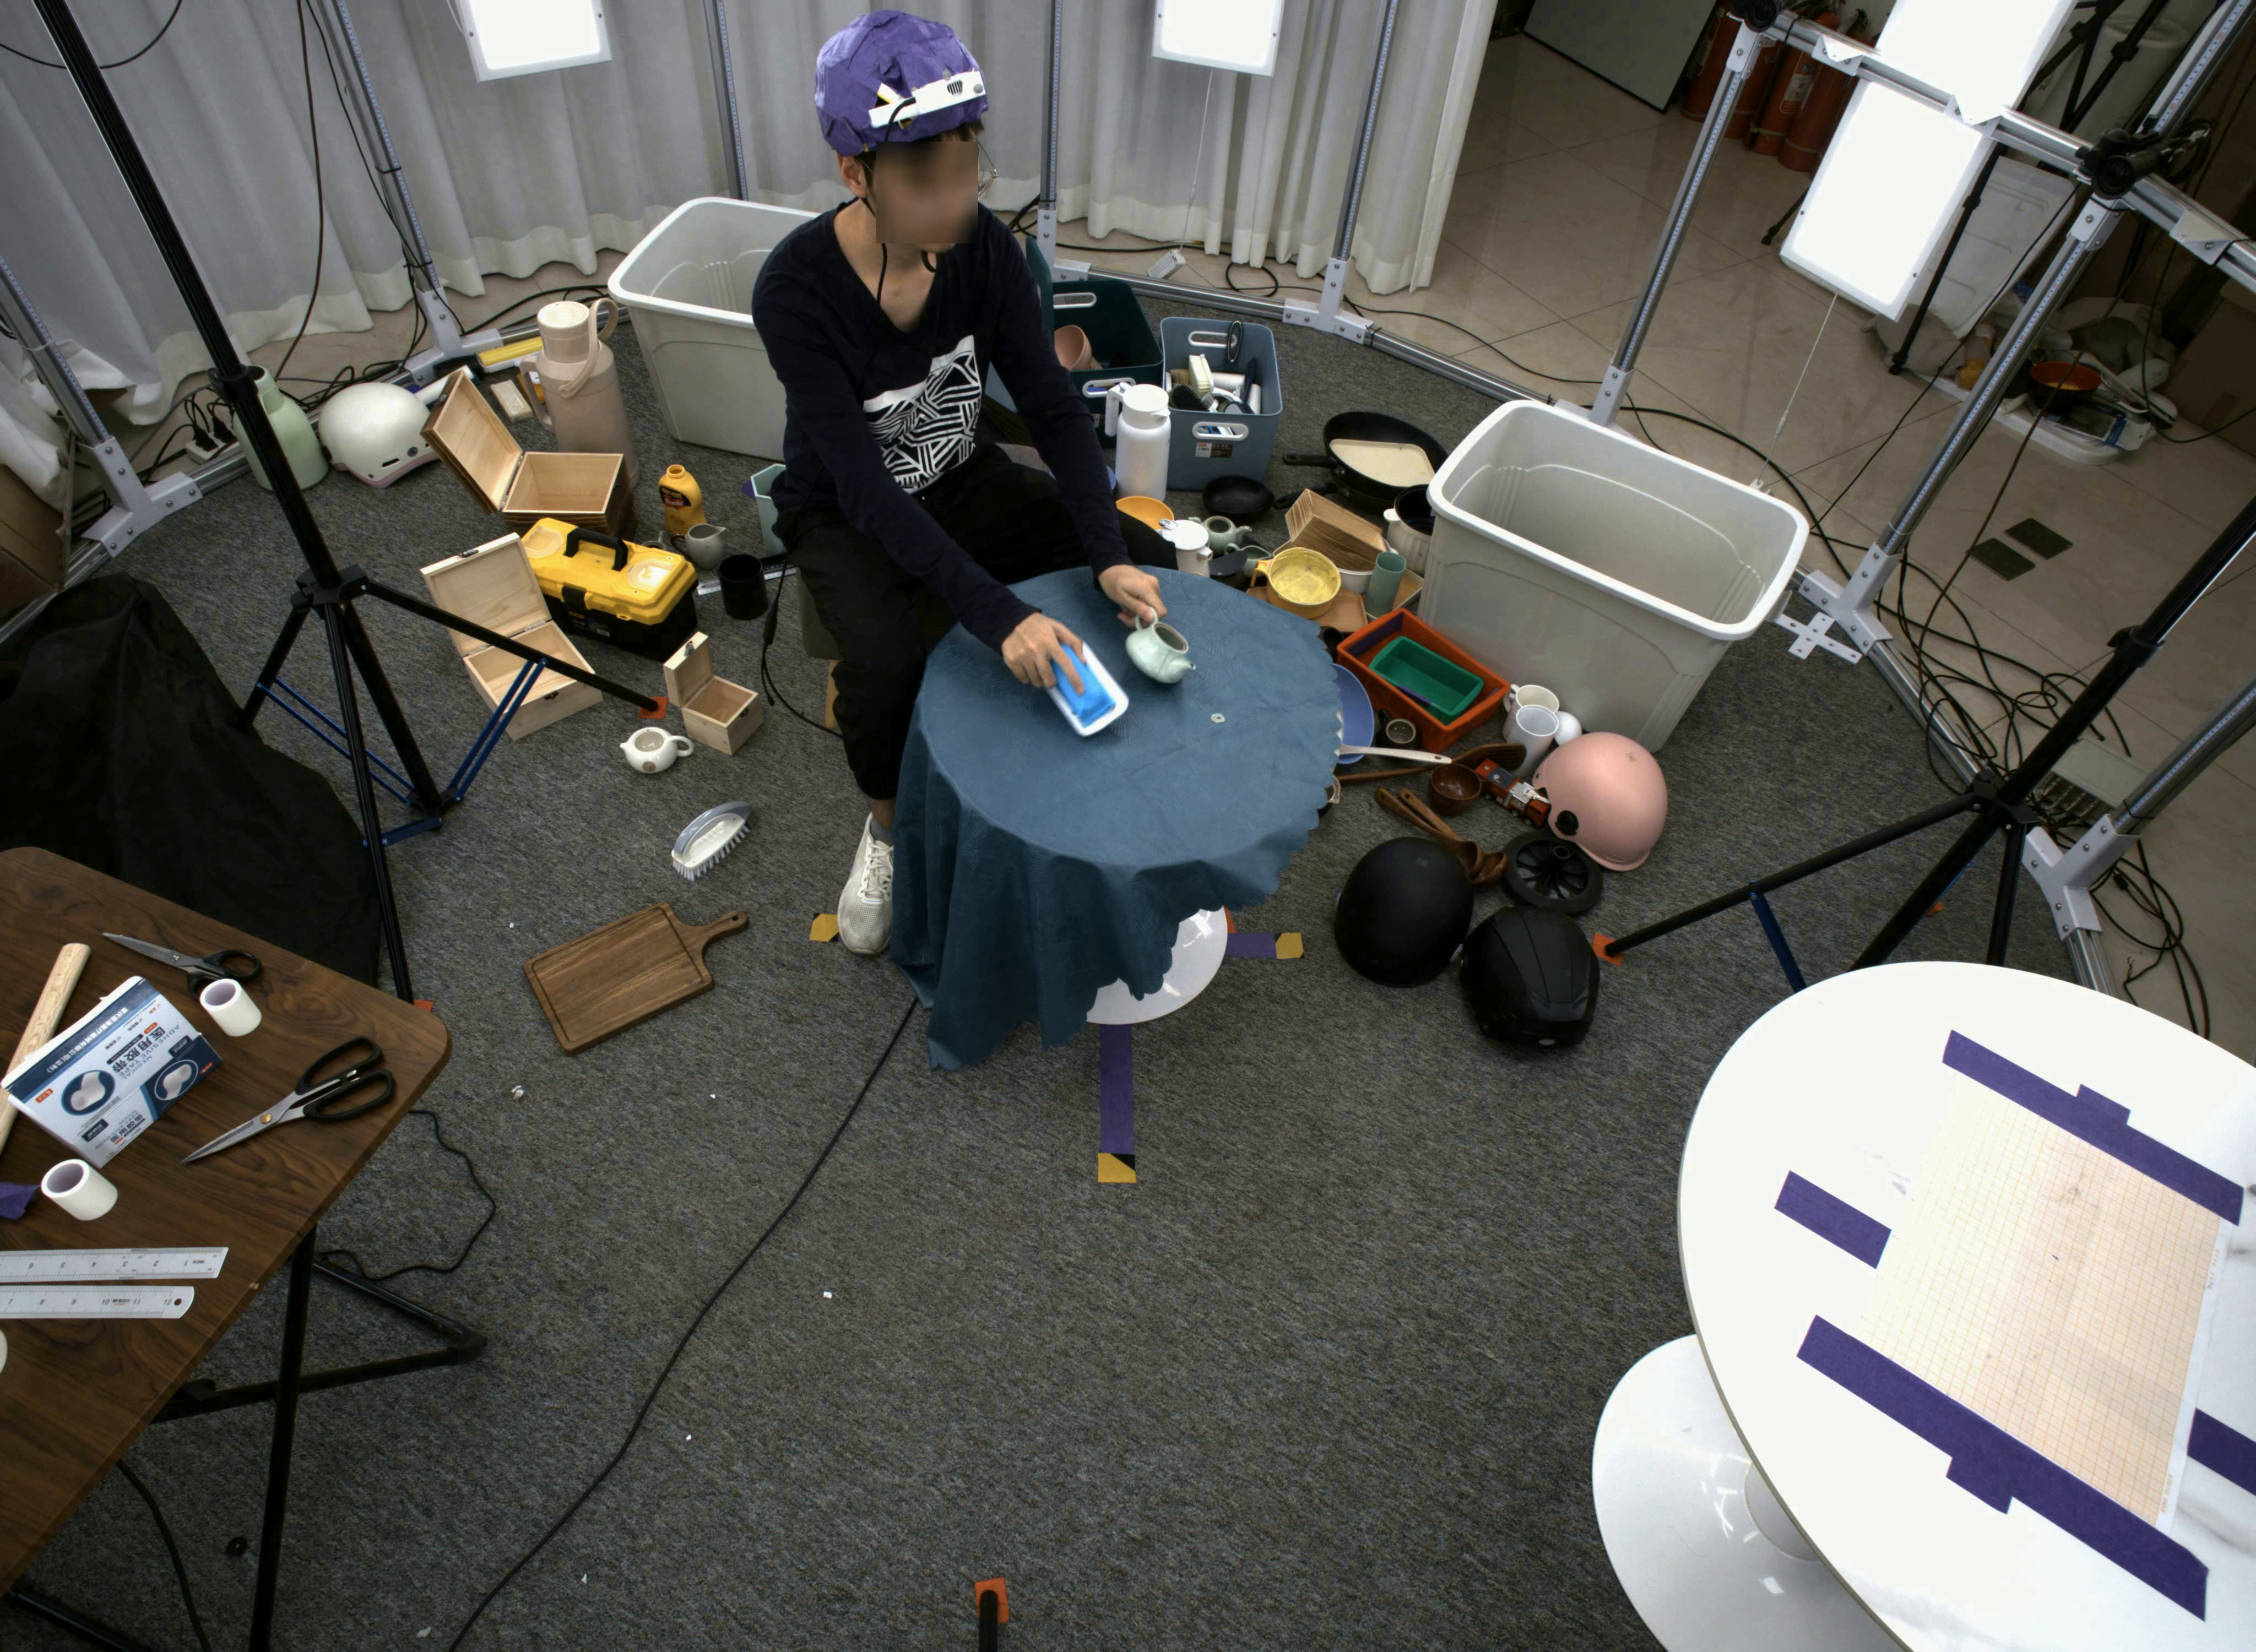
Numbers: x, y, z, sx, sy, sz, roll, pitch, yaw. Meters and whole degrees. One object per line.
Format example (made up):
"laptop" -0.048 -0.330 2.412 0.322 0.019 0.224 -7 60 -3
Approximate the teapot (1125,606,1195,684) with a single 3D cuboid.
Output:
"teapot" 0.043 -0.253 1.837 0.096 0.060 0.139 -5 52 -43

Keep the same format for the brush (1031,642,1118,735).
"brush" -0.076 -0.198 1.774 0.084 0.055 0.147 -29 62 -4
